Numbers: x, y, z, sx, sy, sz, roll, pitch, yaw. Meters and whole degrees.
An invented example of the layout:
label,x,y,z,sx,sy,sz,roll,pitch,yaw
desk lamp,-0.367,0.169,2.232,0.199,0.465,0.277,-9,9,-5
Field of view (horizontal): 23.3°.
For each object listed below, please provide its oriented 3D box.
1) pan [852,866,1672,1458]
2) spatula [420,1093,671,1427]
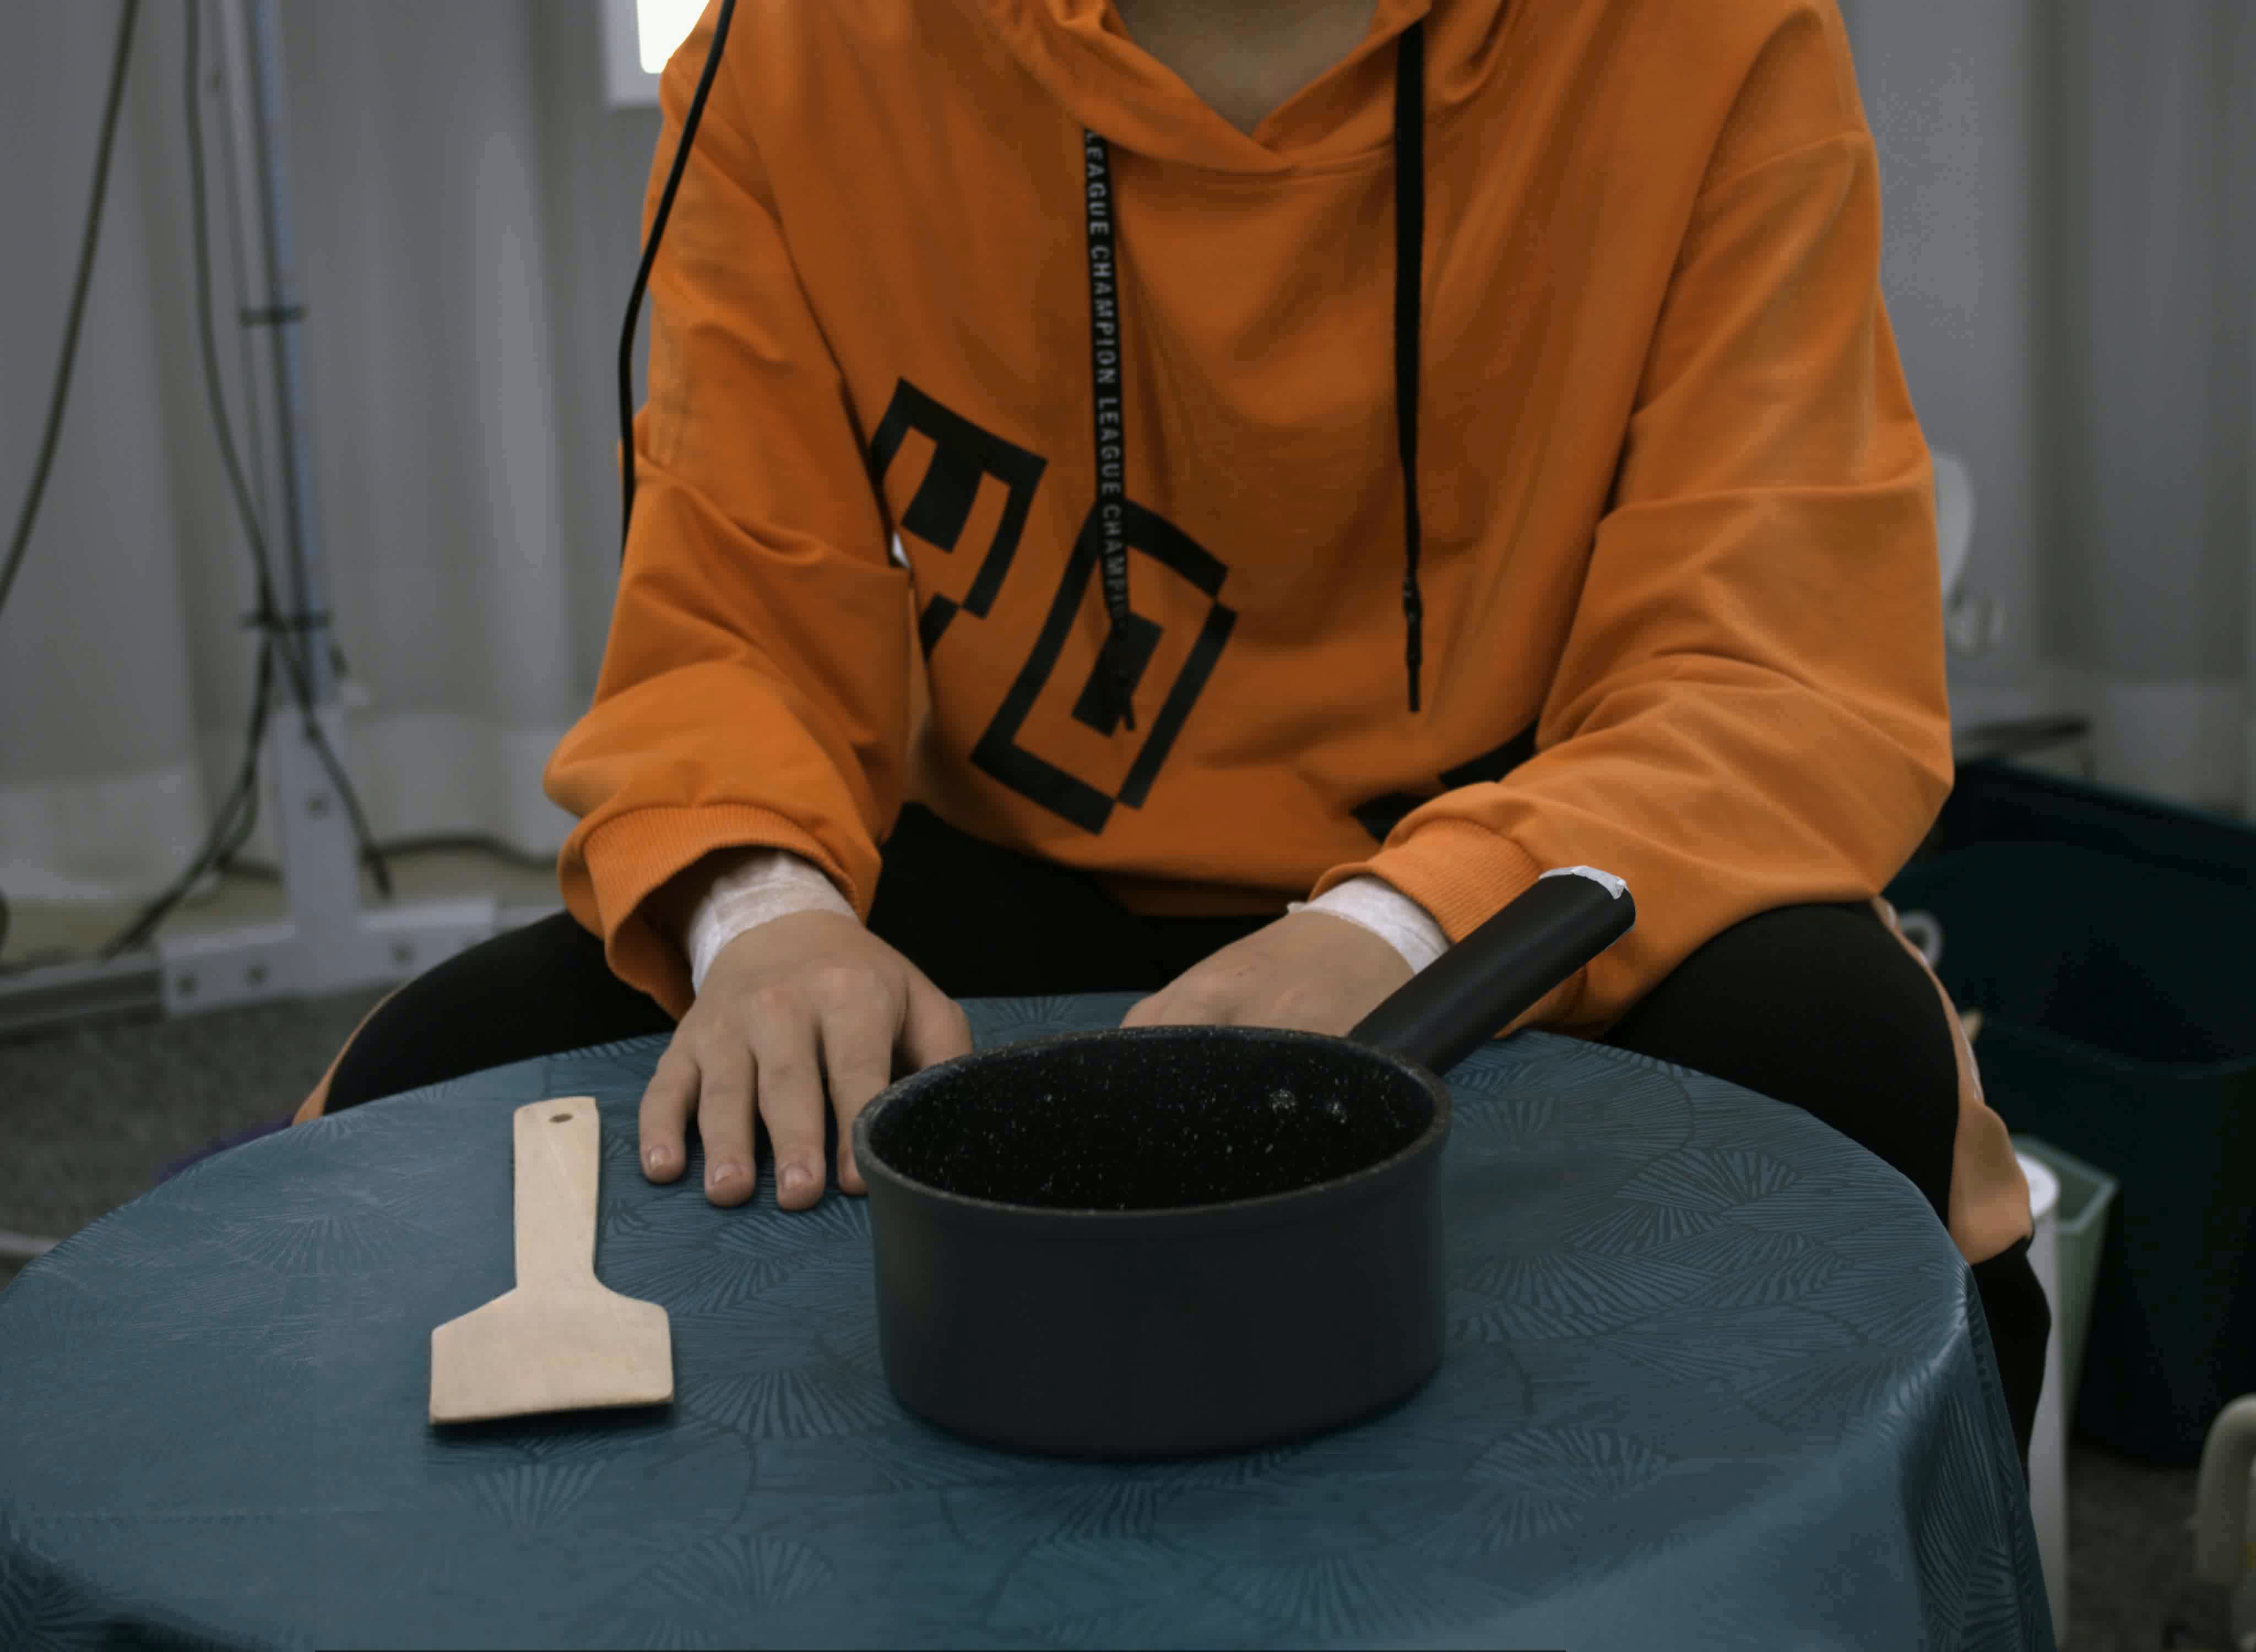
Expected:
label,x,y,z,sx,sy,sz,roll,pitch,yaw
pan,0.058,0.095,1.615,0.173,0.086,0.329,9,21,38
spatula,-0.176,0.130,1.677,0.072,0.010,0.295,-8,15,-3
